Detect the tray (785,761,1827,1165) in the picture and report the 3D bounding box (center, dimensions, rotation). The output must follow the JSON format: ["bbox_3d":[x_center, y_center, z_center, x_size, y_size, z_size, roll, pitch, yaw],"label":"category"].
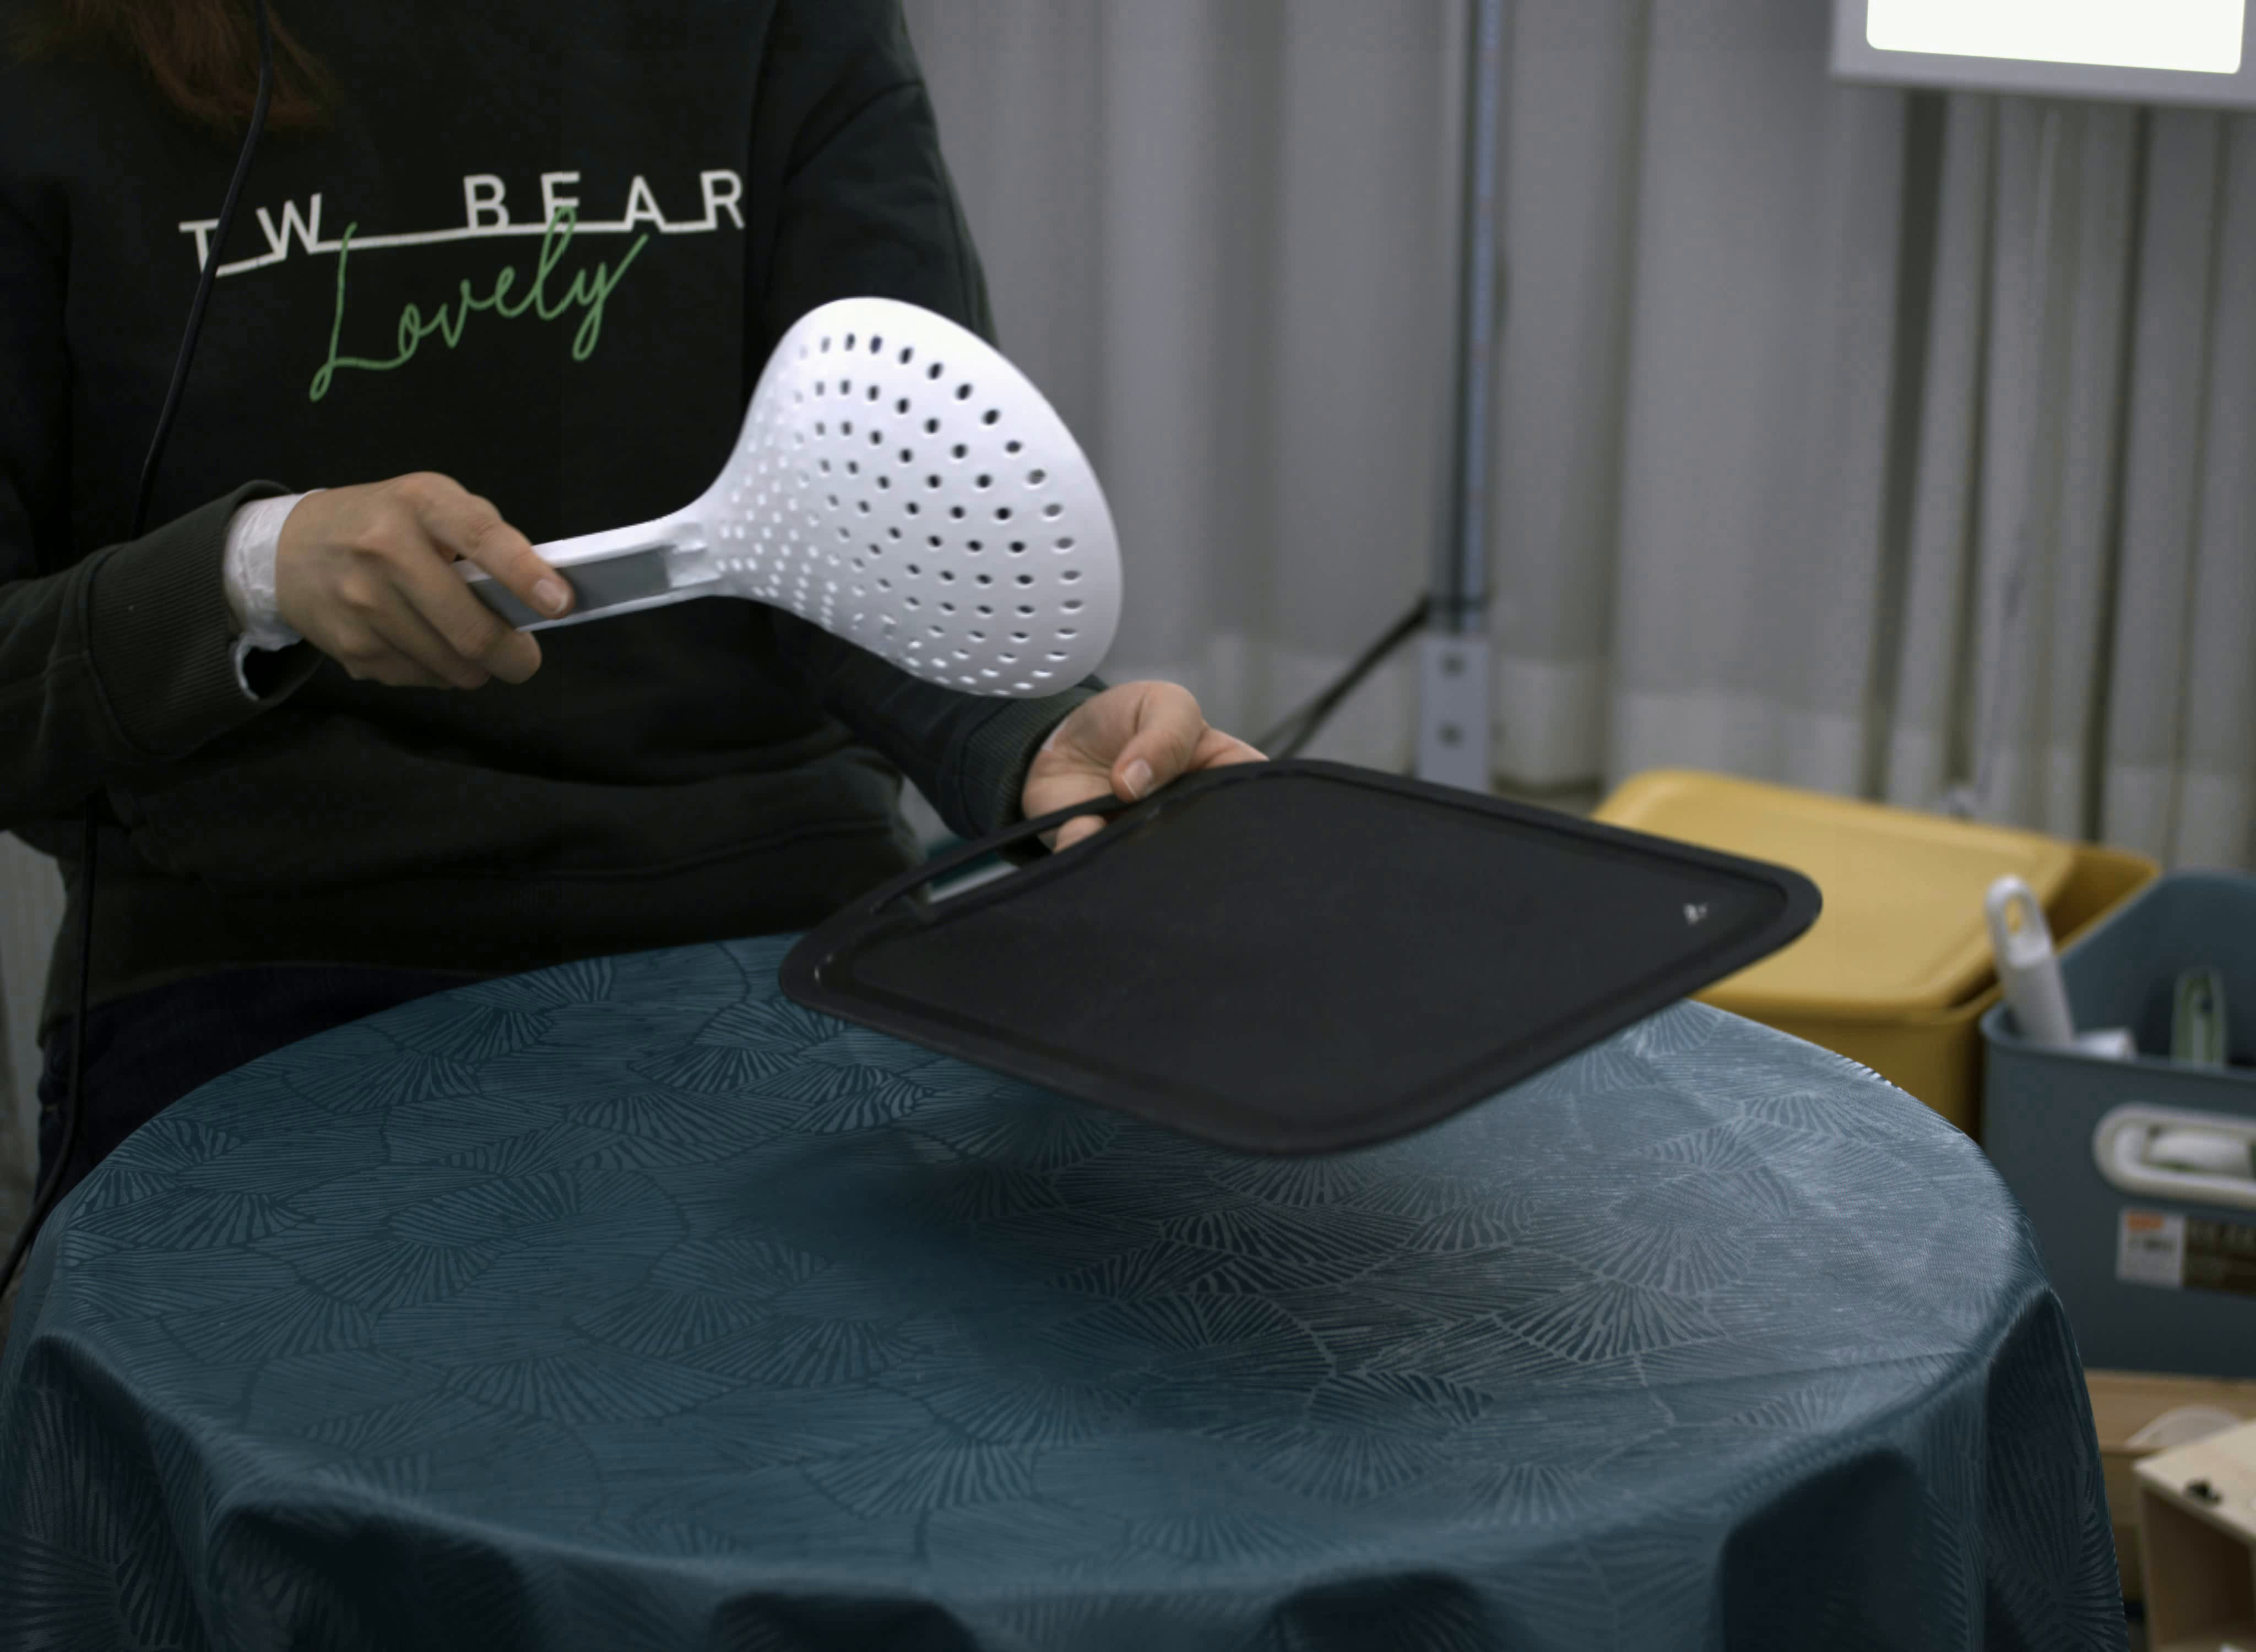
[{"bbox_3d":[0.041,0.034,1.568,0.211,0.010,0.321,-24,23,-30],"label":"tray"}]

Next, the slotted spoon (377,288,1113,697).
[{"bbox_3d":[-0.132,-0.086,1.640,0.046,0.137,0.346,-37,19,-33],"label":"slotted spoon"}]
